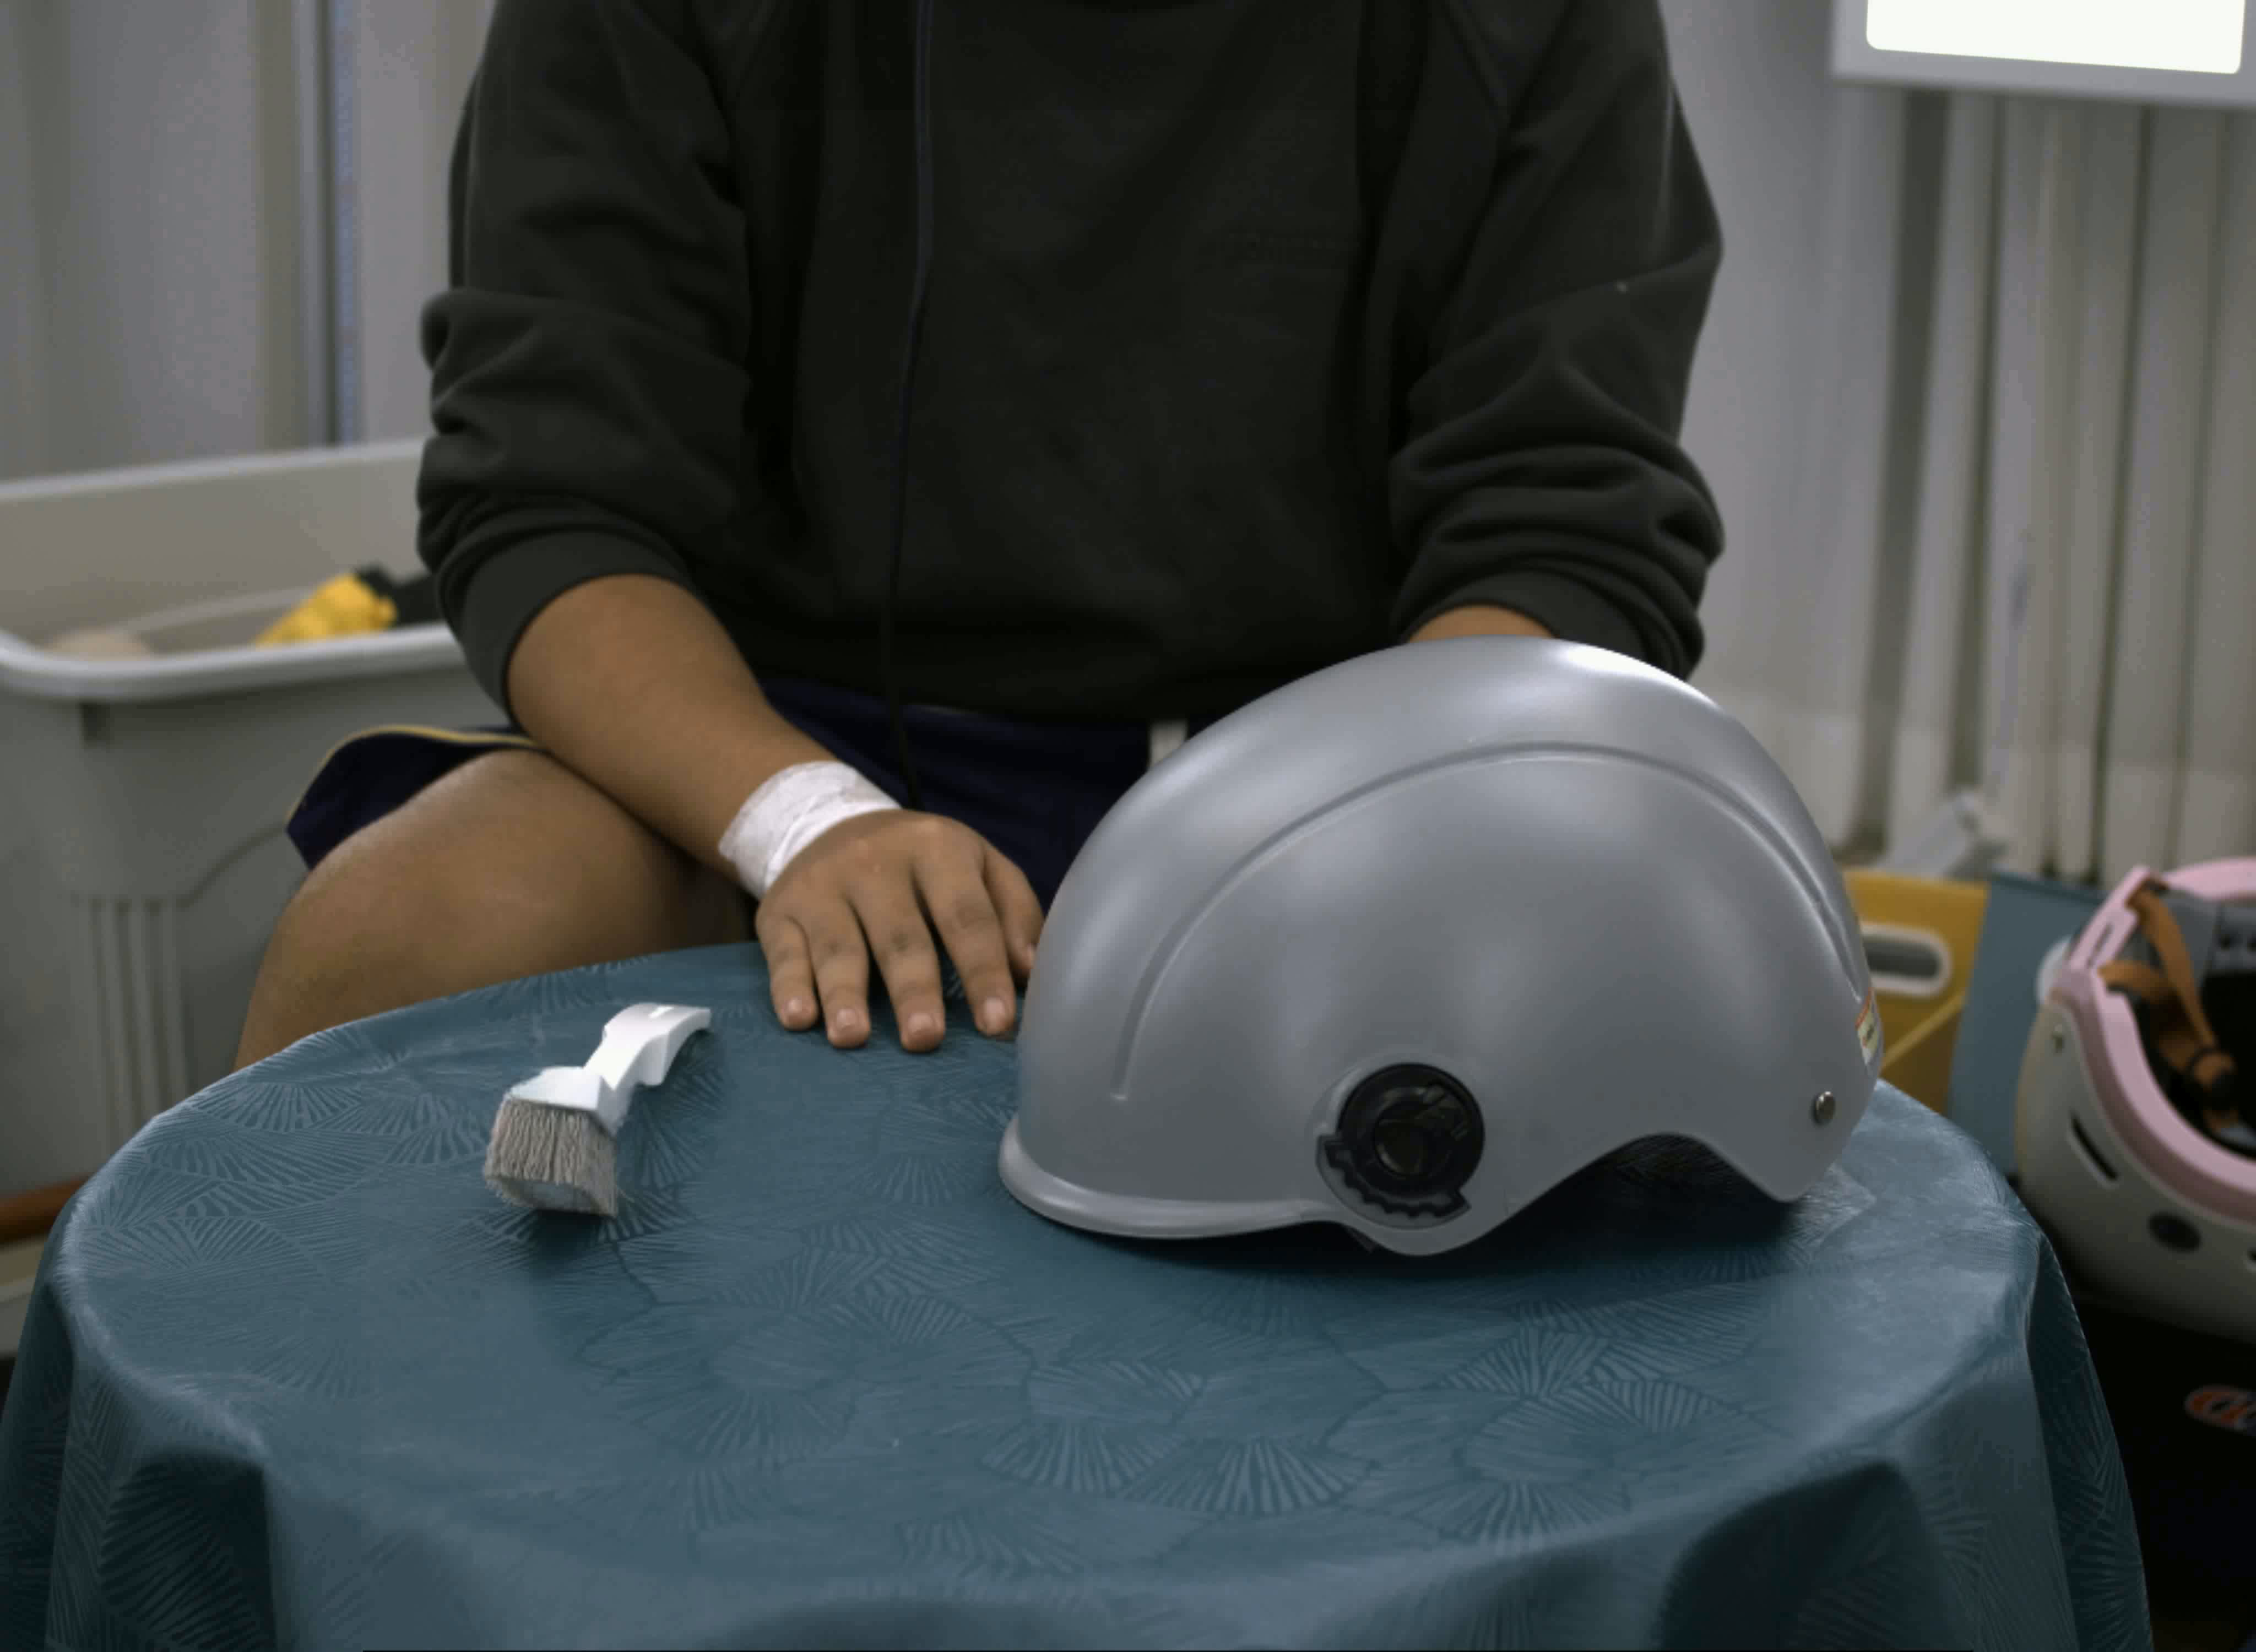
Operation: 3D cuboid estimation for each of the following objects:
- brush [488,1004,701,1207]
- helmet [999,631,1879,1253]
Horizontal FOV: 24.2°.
[{"bbox_3d":[-0.165,0.088,1.662,0.034,0.050,0.243,5,3,4],"label":"brush"},{"bbox_3d":[0.094,0.026,1.629,0.276,0.170,0.230,-5,16,-10],"label":"helmet"}]
